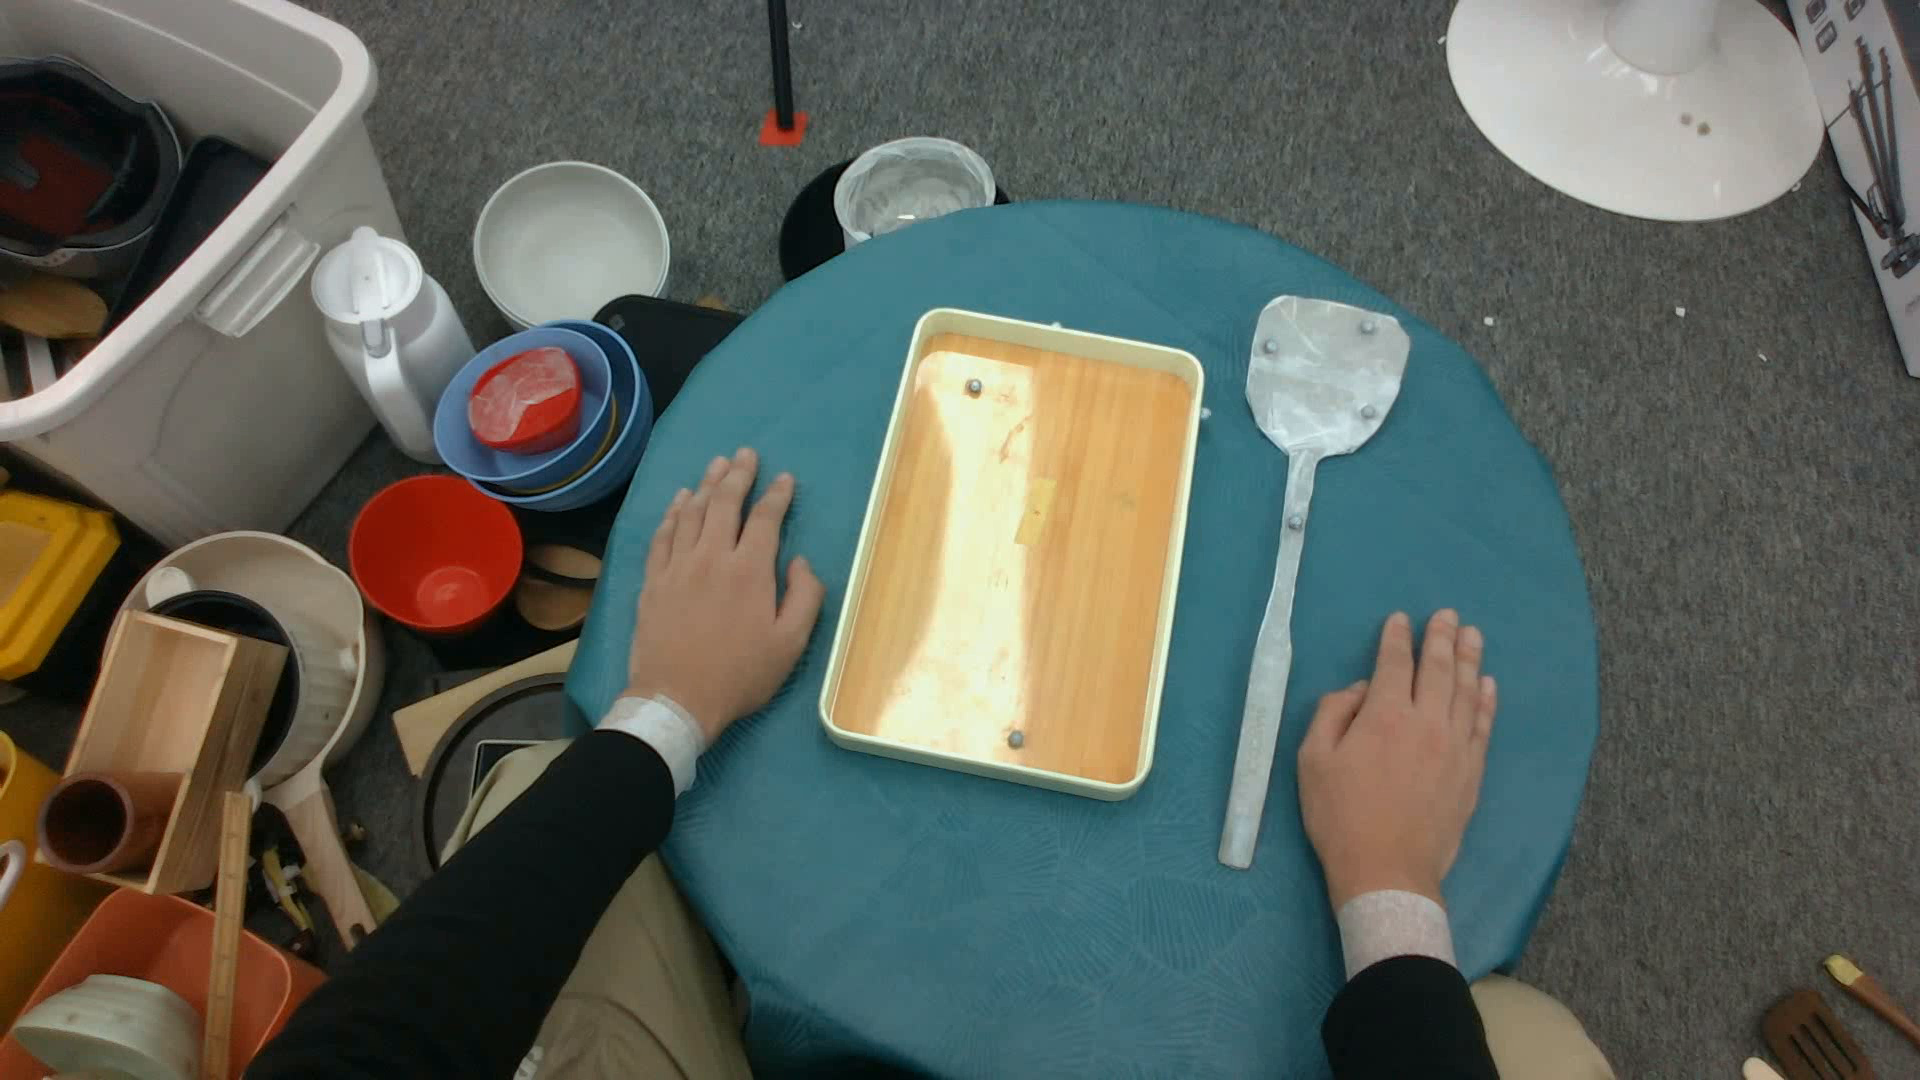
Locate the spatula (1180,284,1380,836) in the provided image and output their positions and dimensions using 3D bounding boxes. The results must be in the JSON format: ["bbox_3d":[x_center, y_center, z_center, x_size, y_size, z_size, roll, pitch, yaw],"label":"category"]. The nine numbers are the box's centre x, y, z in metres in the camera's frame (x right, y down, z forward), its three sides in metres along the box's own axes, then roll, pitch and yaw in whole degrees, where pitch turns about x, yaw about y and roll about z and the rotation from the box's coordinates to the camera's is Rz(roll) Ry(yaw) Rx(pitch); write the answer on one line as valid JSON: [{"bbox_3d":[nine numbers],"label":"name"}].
[{"bbox_3d":[0.182,0.003,0.833,0.098,0.044,0.366,15,63,3],"label":"spatula"}]

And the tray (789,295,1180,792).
[{"bbox_3d":[0.022,-0.008,0.835,0.191,0.027,0.301,12,63,2],"label":"tray"}]
